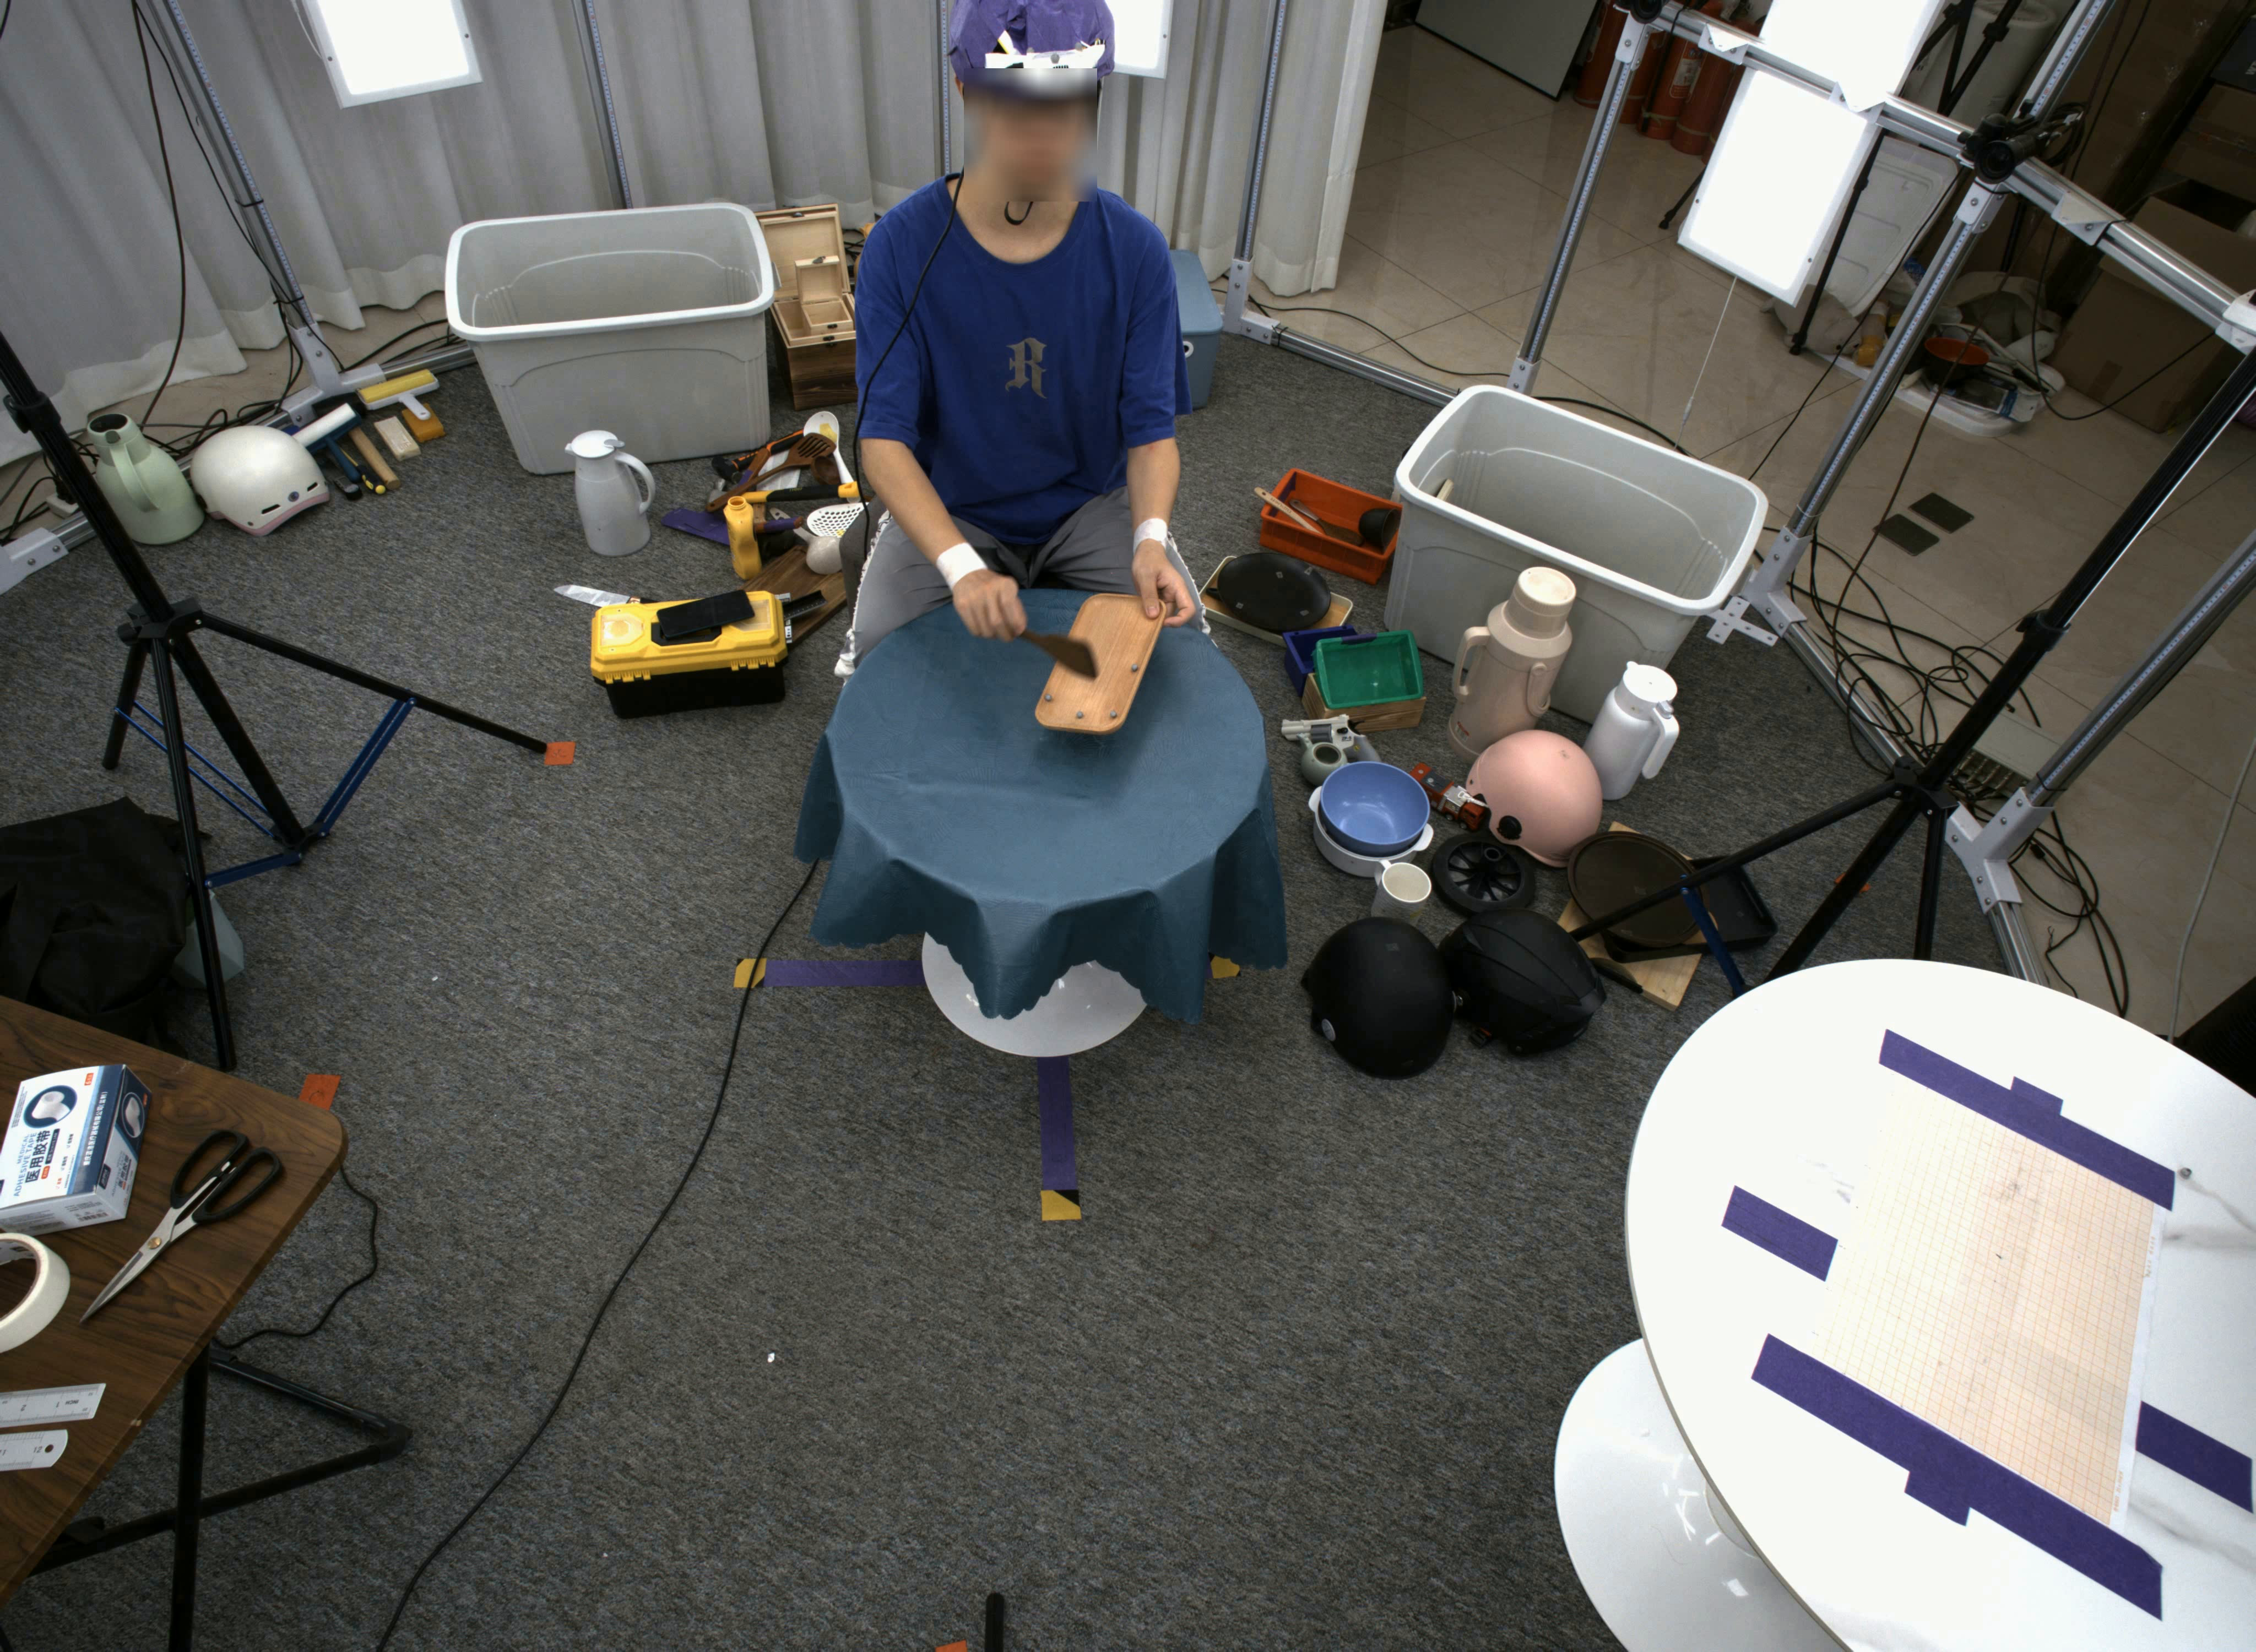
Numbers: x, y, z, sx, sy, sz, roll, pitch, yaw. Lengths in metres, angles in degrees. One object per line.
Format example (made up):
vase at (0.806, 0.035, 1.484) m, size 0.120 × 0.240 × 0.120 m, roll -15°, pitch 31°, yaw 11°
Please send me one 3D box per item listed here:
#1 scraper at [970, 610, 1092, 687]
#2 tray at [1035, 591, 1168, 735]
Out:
scraper at (-0.134, -0.244, 1.713) m, size 0.214 × 0.074 × 0.011 m, roll 29°, pitch 65°, yaw 30°
tray at (-0.033, -0.227, 1.764) m, size 0.131 × 0.022 × 0.255 m, roll 10°, pitch 55°, yaw 18°
